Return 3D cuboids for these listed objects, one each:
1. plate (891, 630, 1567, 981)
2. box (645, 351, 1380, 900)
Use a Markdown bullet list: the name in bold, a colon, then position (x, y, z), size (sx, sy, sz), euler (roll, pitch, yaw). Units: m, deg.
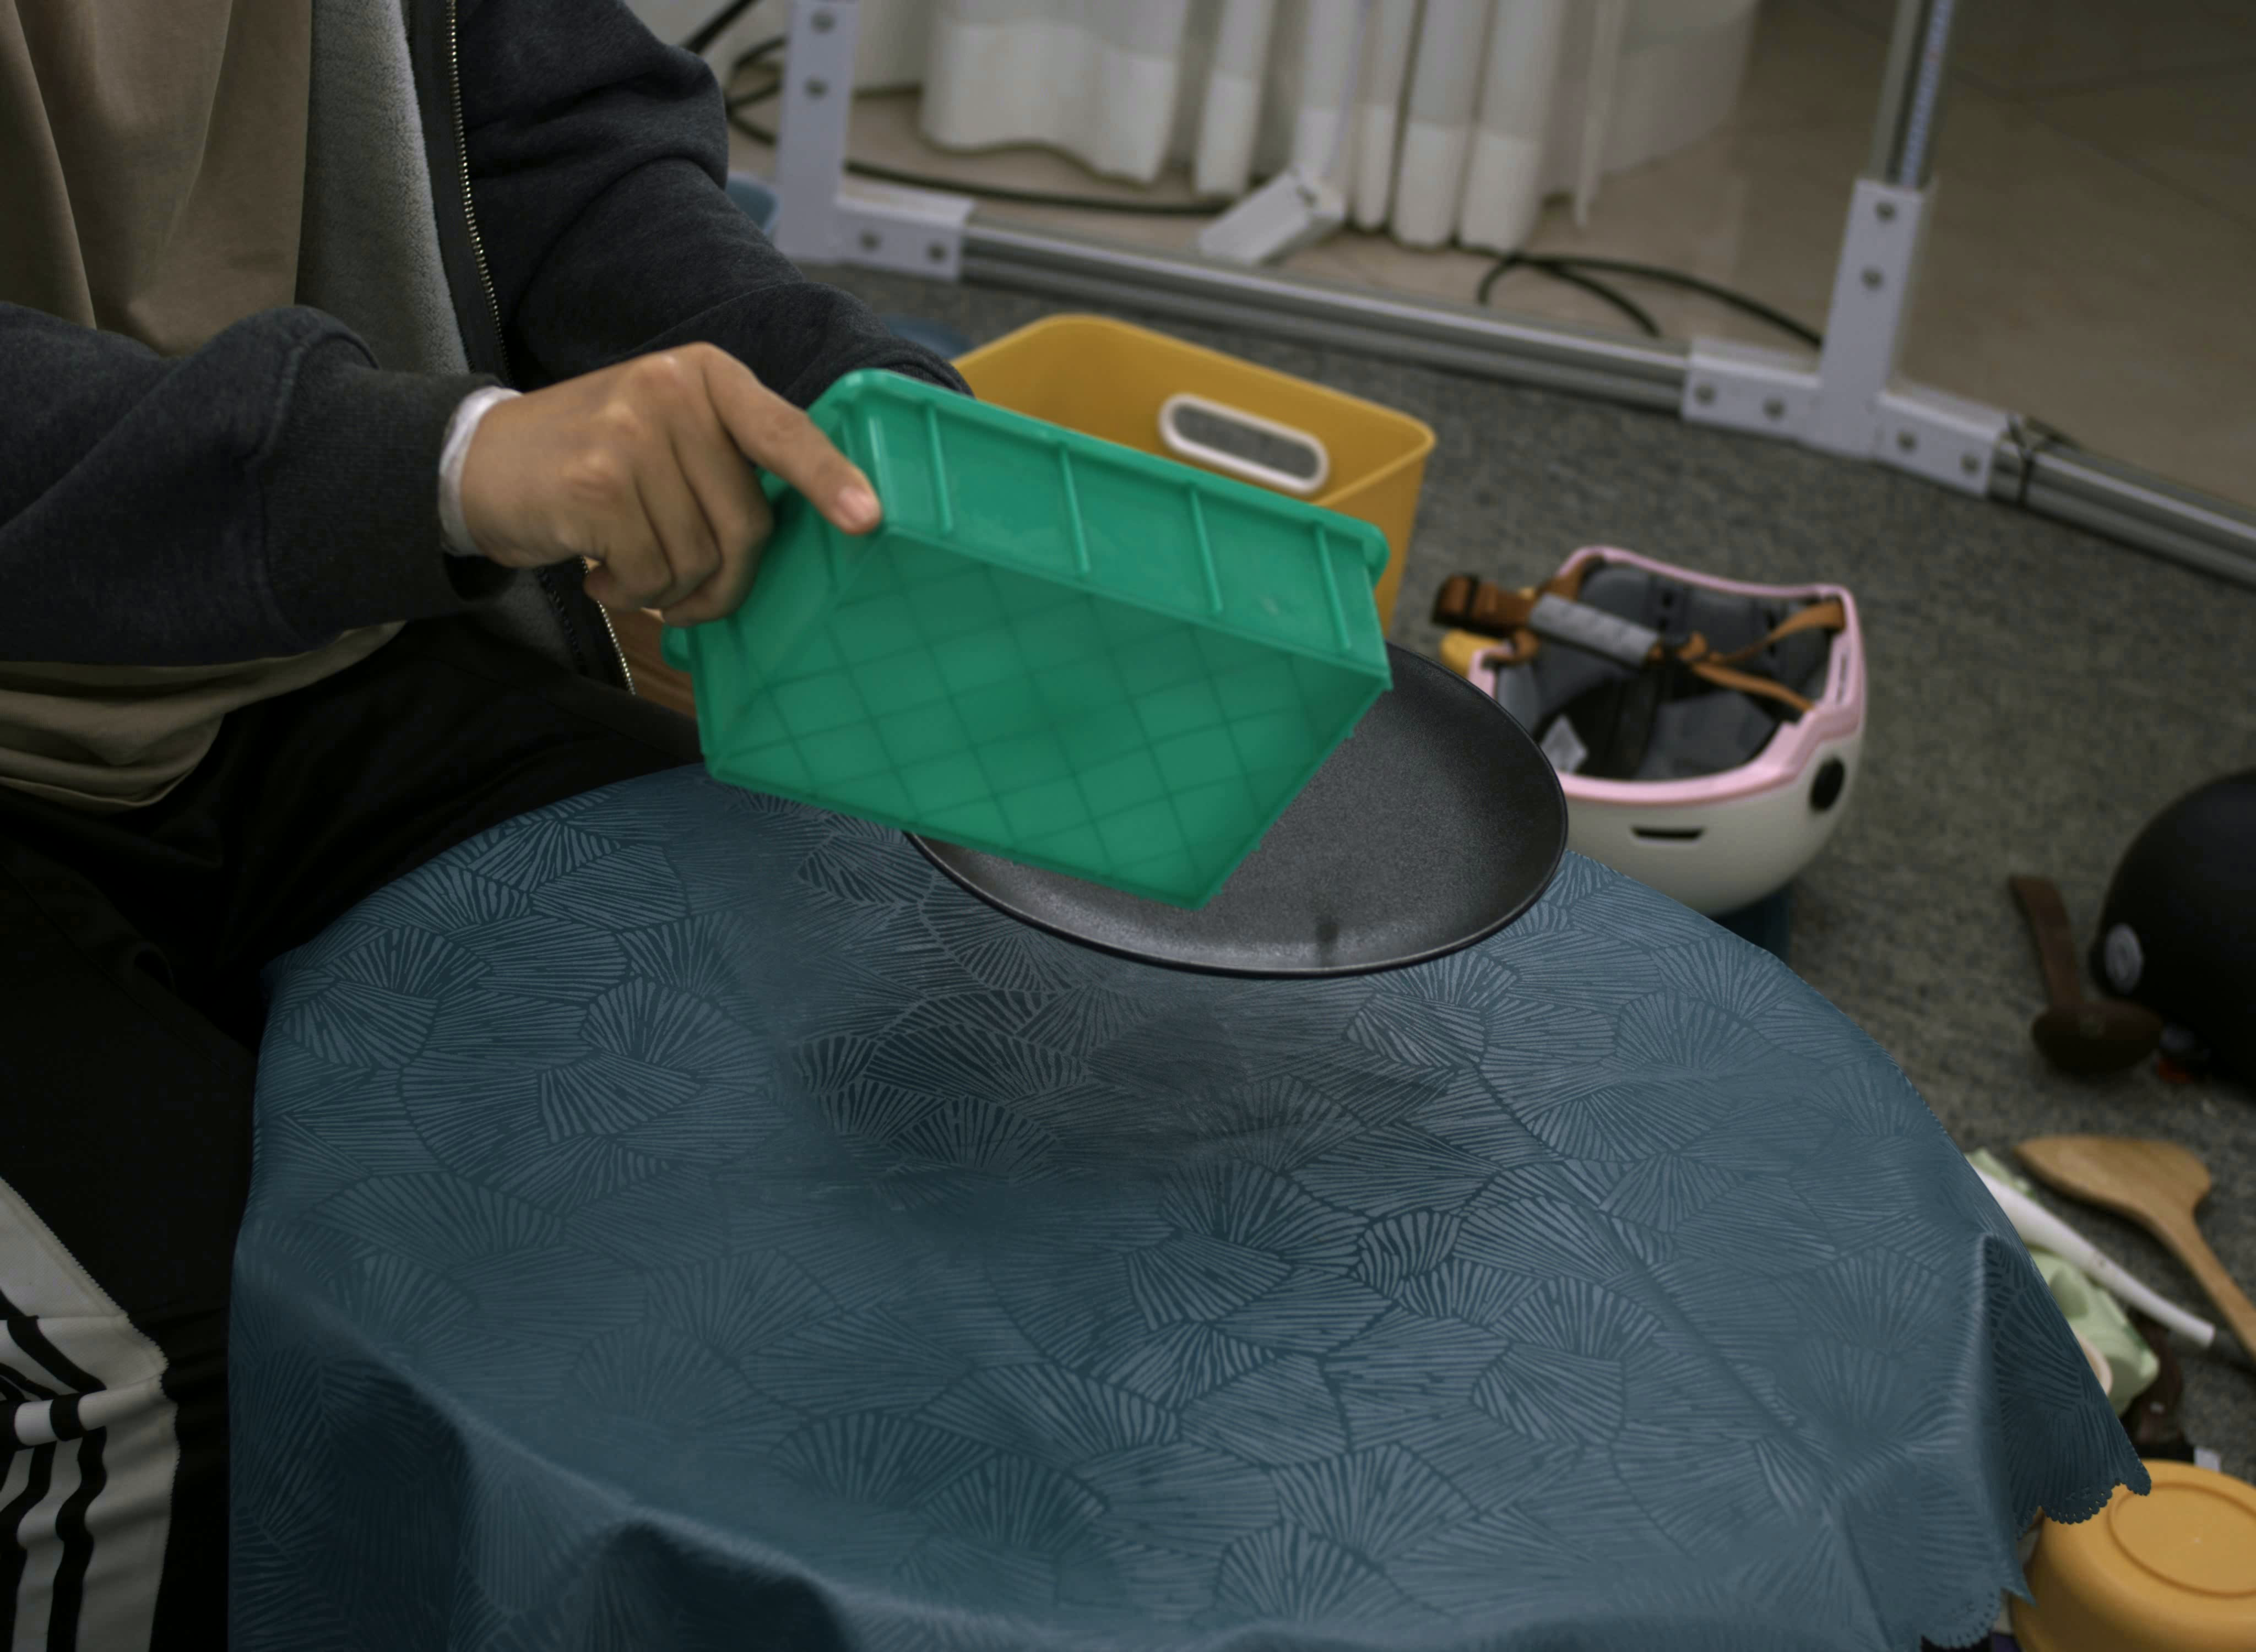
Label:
- **plate**: position (0.031, -0.010, 1.860), size (0.243, 0.023, 0.246), euler (5, 33, -3)
- **box**: position (-0.031, -0.055, 1.648), size (0.208, 0.138, 0.066), euler (16, 40, -29)
